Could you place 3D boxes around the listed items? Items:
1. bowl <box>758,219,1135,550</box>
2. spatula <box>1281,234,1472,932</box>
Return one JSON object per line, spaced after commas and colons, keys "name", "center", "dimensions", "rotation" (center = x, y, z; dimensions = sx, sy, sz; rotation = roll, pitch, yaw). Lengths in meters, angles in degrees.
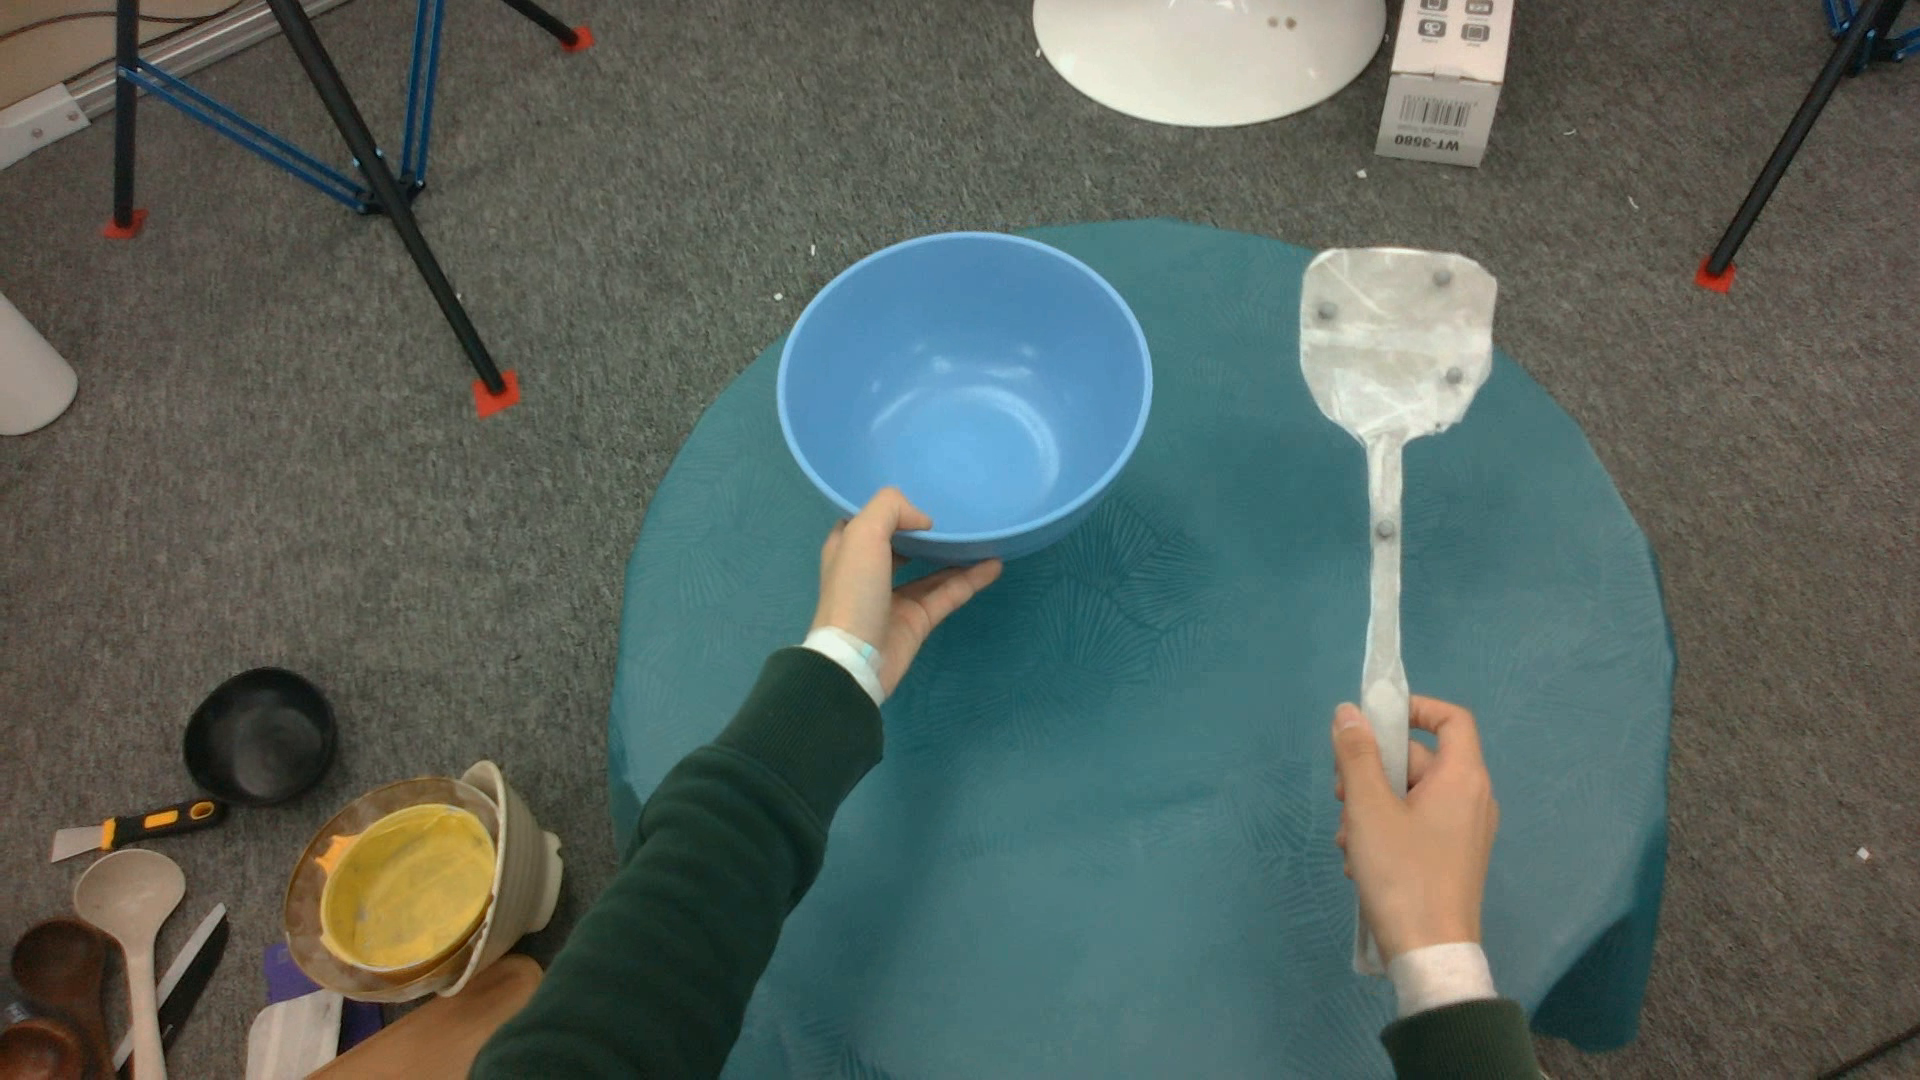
{"name": "bowl", "center": [-0.007, -0.070, 0.755], "dimensions": [0.196, 0.095, 0.197], "rotation": [0, 60, 0]}
{"name": "spatula", "center": [0.194, 0.006, 0.670], "dimensions": [0.098, 0.044, 0.366], "rotation": [9, 62, 5]}
